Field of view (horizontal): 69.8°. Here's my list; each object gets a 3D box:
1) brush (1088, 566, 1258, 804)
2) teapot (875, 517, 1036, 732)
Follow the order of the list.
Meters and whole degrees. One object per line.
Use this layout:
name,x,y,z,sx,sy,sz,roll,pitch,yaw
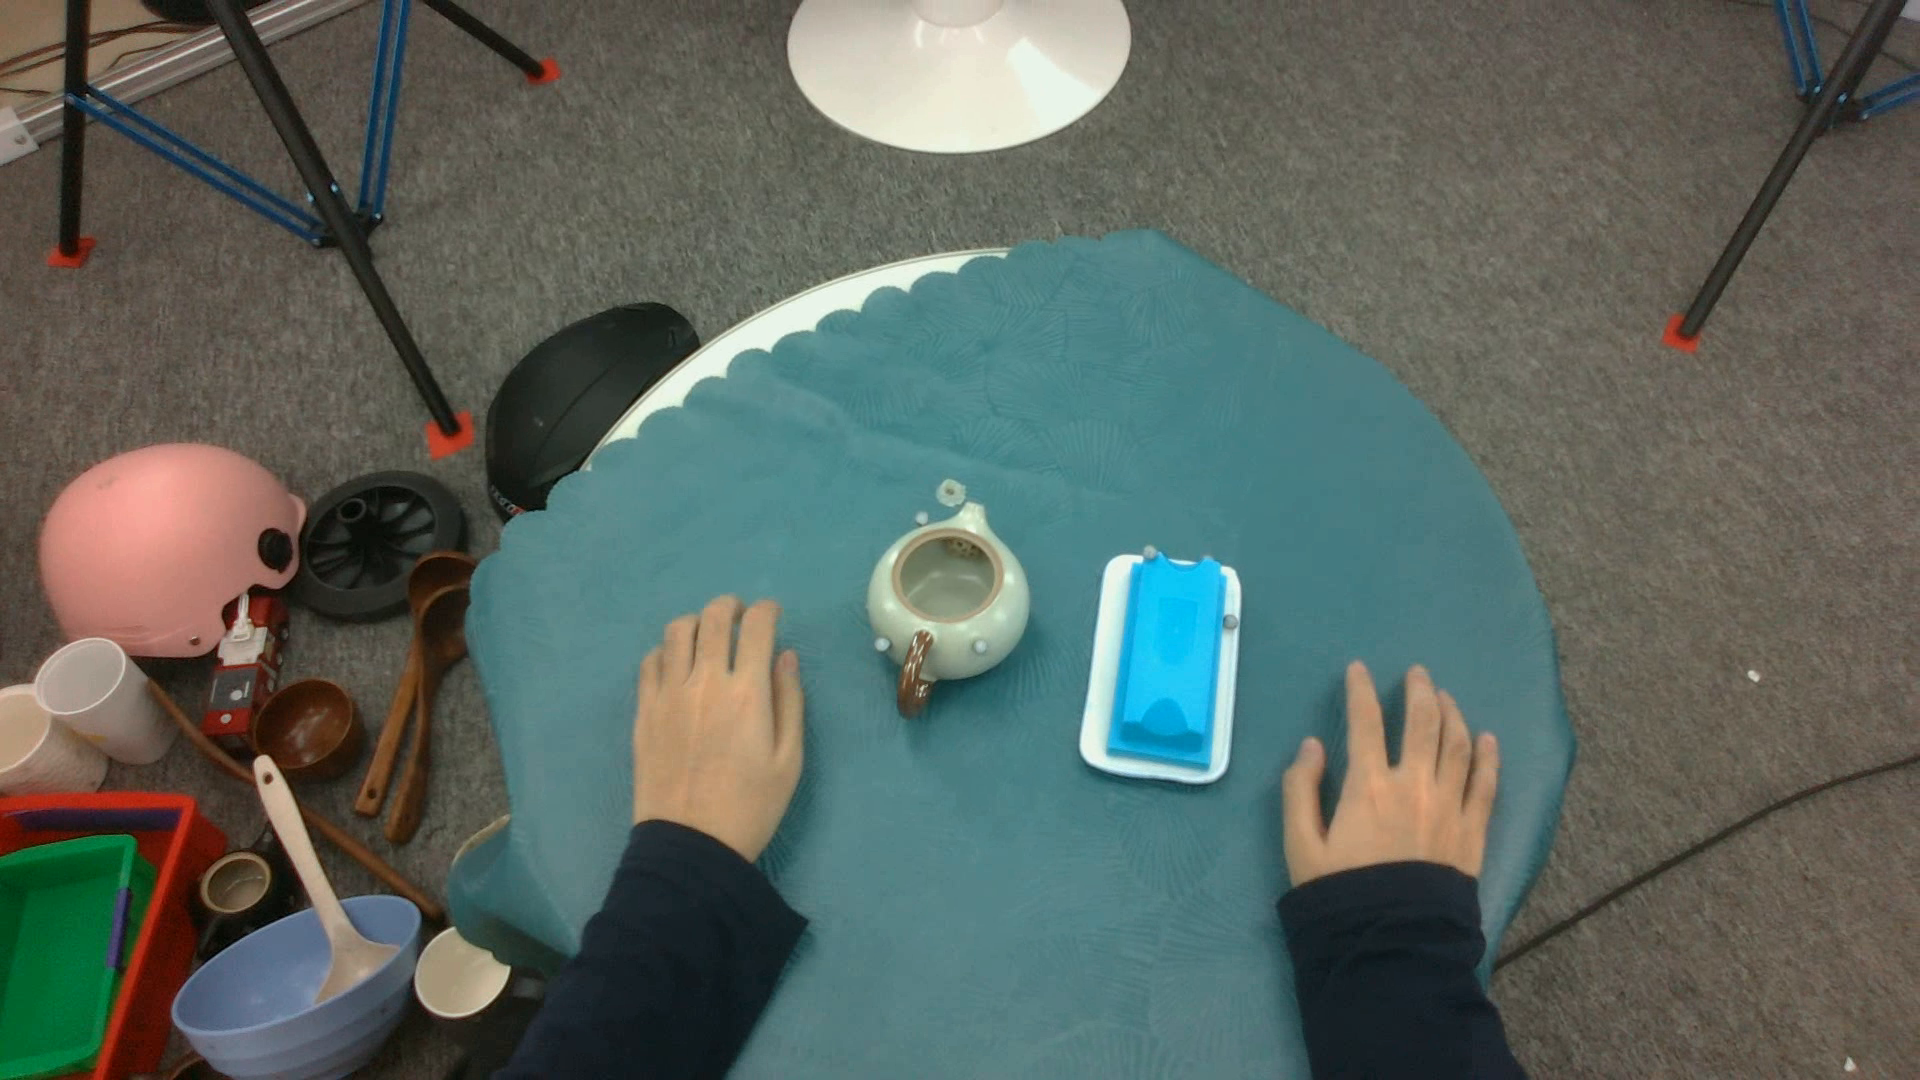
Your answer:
brush,0.119,0.071,0.758,0.084,0.055,0.144,7,53,11
teapot,-0.005,0.050,0.779,0.092,0.059,0.128,14,55,8
